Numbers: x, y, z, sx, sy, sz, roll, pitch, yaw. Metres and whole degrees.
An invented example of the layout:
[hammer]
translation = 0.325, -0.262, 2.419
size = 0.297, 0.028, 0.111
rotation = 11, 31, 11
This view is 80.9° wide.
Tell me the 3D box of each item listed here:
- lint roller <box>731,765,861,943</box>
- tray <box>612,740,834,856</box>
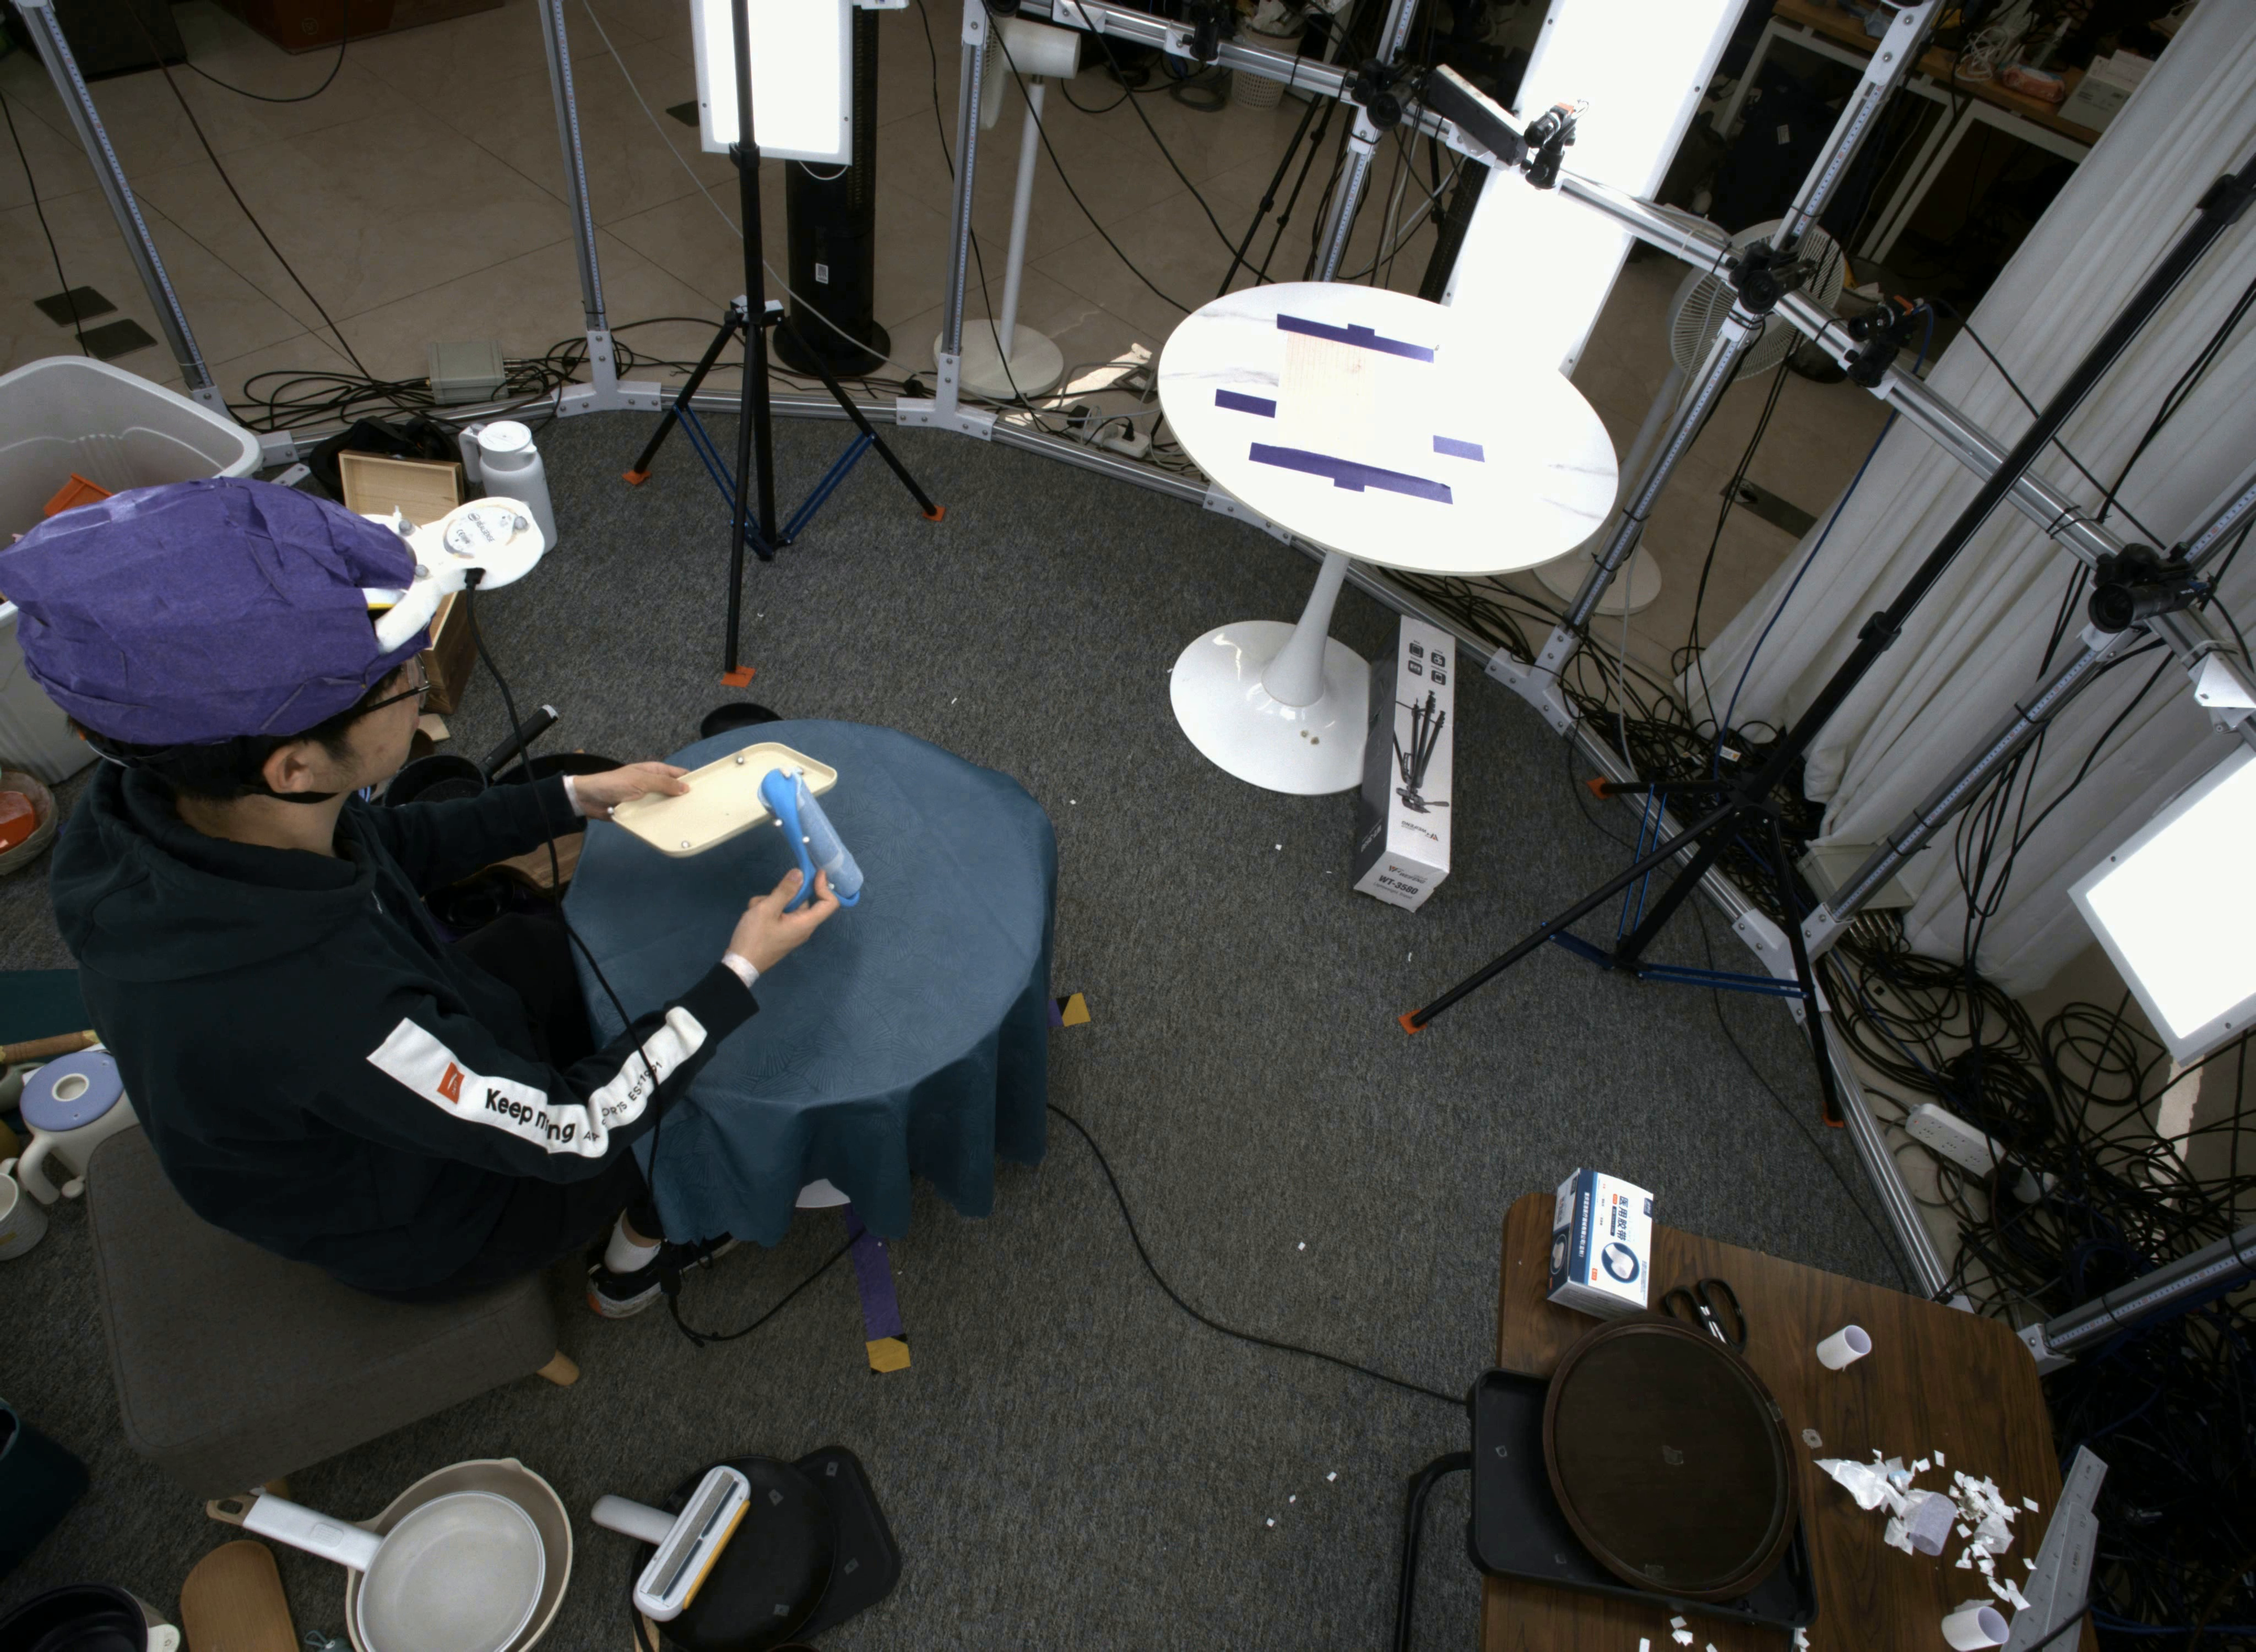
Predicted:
[lint roller]
translation = -0.388, 0.058, 1.488
size = 0.066, 0.237, 0.179
rotation = 9, 61, 18
[tray]
translation = -0.483, -0.037, 1.542
size = 0.165, 0.018, 0.241
rotation = 23, 39, 36
